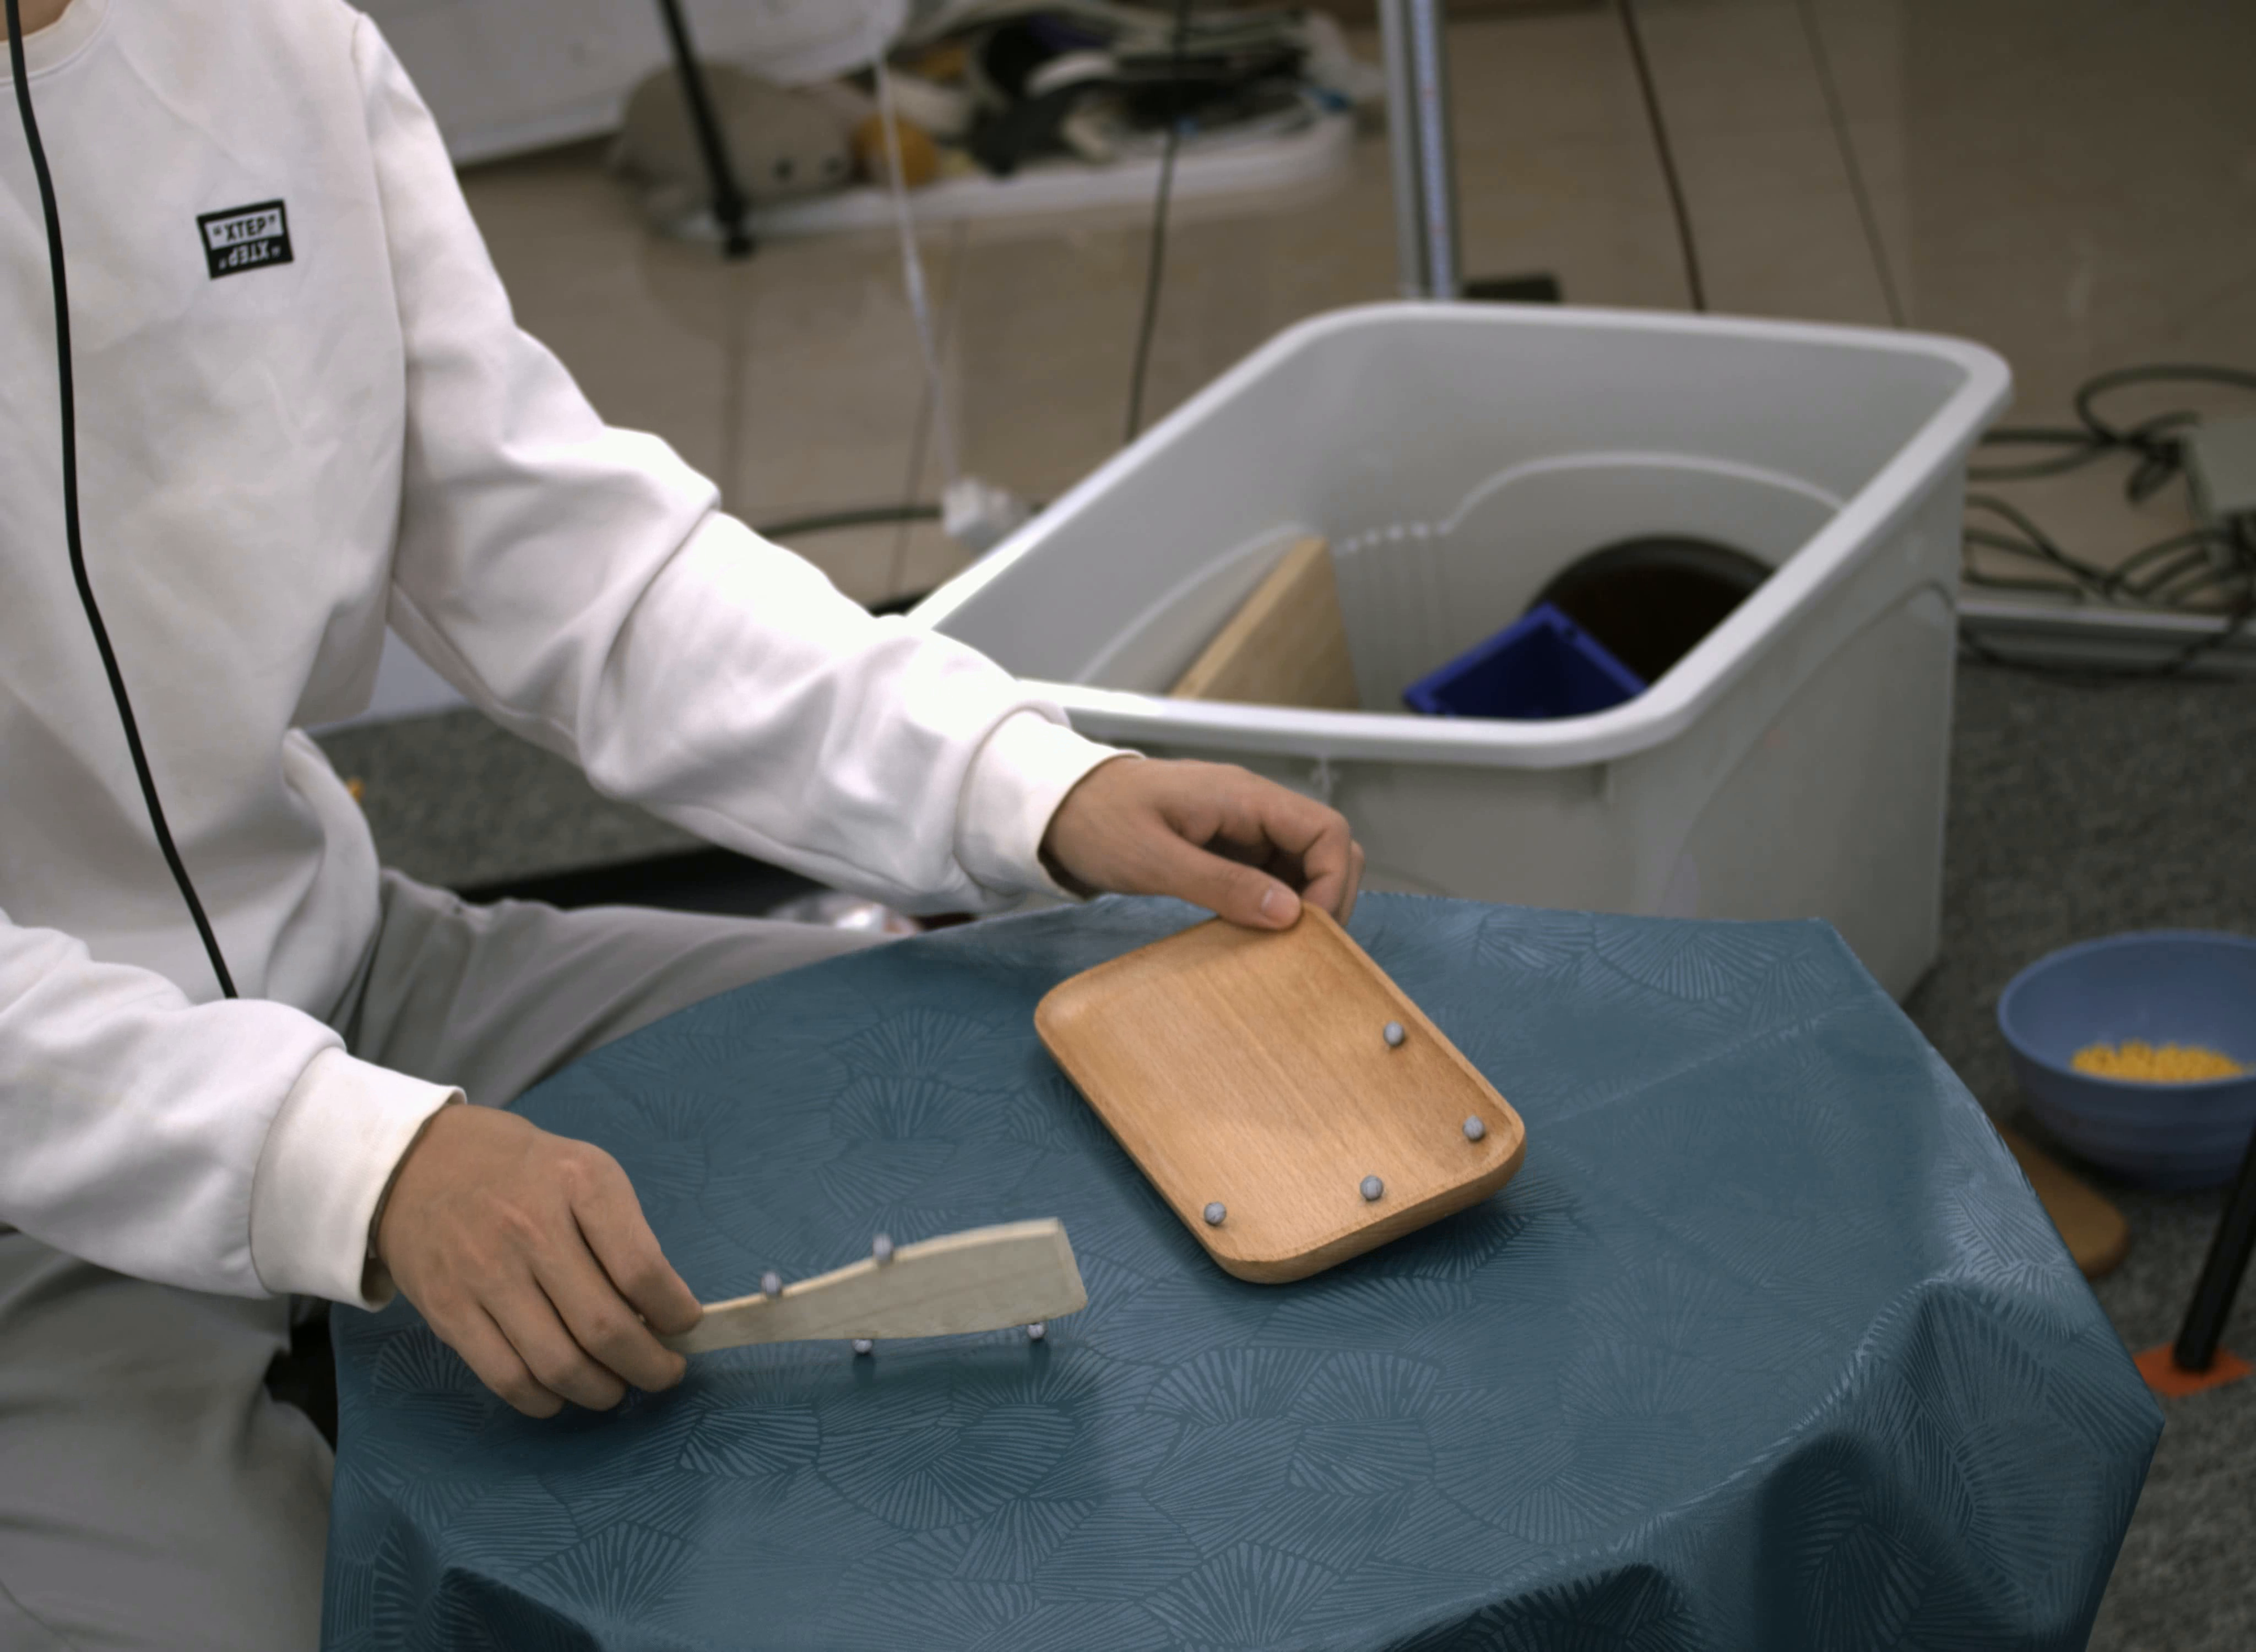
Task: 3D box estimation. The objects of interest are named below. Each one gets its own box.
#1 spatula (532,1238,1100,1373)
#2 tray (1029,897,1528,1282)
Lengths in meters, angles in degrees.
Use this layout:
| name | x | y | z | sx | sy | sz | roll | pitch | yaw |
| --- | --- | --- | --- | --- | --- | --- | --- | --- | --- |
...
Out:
| name | x | y | z | sx | sy | sz | roll | pitch | yaw |
| --- | --- | --- | --- | --- | --- | --- | --- | --- | --- |
| spatula | -0.115 | 0.177 | 2.043 | 0.207 | 0.051 | 0.005 | -9 | 51 | 10 |
| tray | 0.055 | 0.099 | 2.173 | 0.130 | 0.023 | 0.247 | -19 | 28 | -13 |
